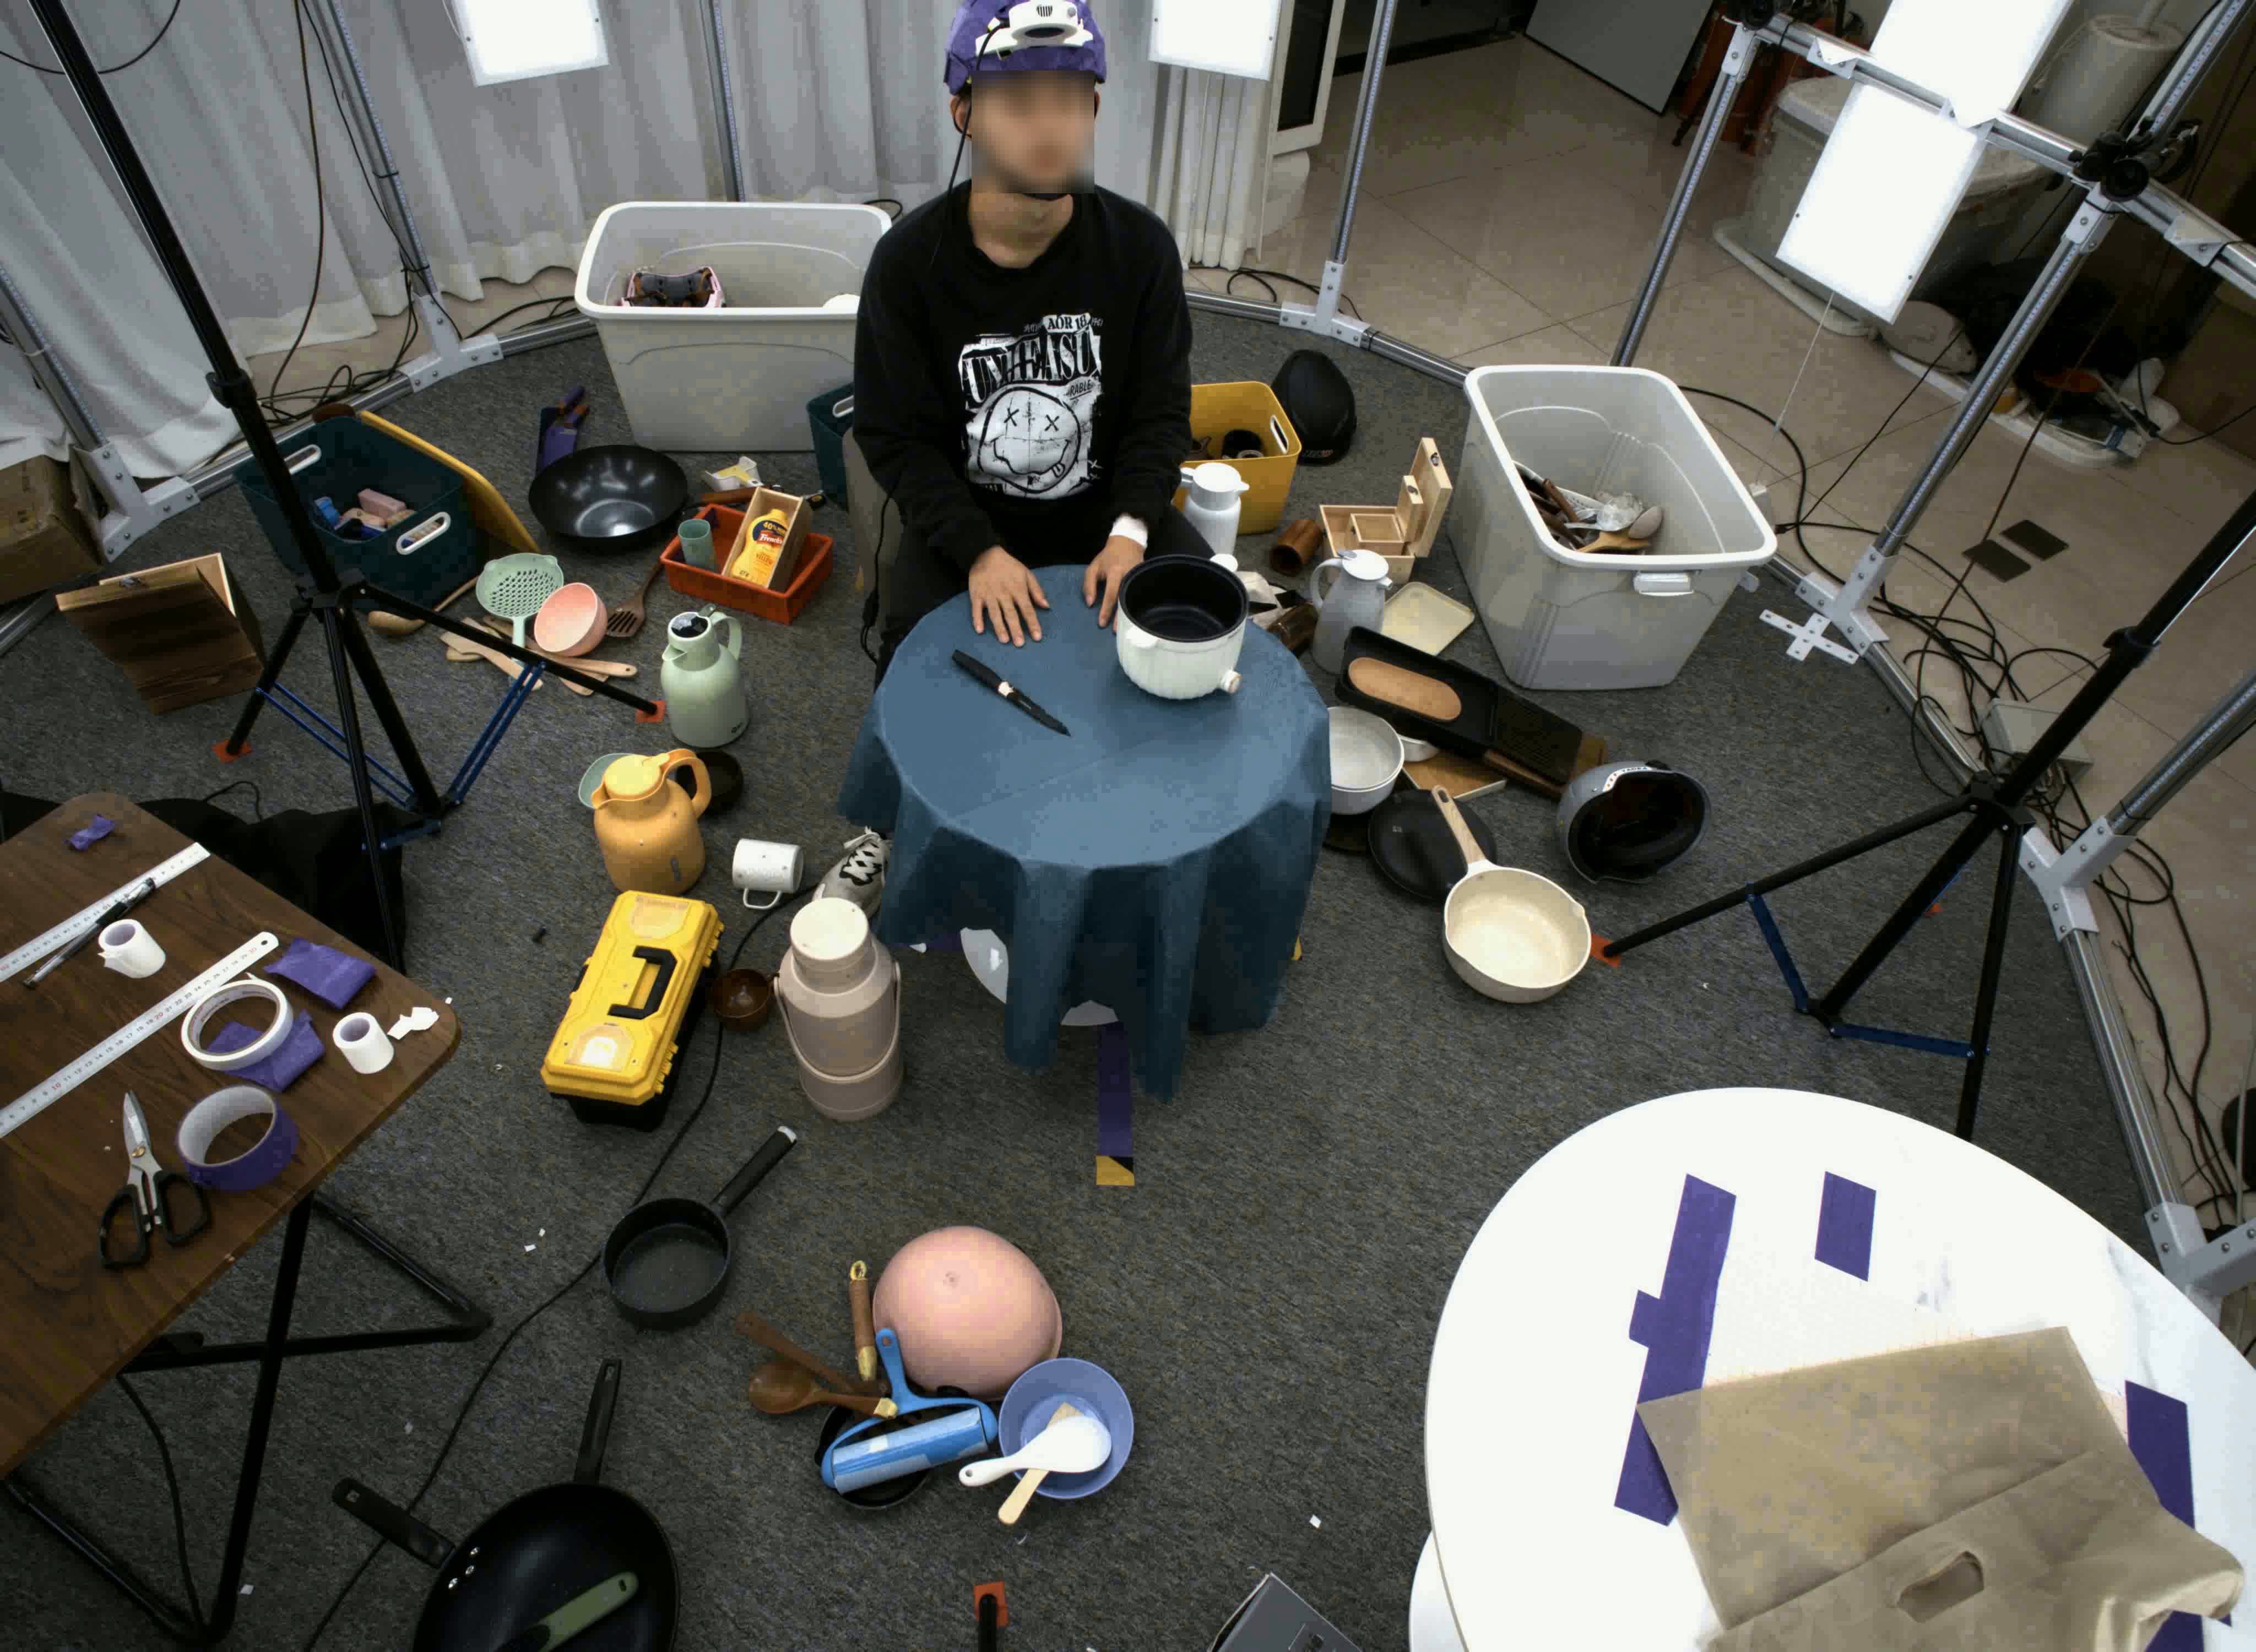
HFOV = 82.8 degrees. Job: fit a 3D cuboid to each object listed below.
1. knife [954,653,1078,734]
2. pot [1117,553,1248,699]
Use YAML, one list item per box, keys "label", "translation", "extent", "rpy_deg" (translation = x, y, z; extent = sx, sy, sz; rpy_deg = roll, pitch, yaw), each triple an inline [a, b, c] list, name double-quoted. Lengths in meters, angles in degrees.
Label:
- label: "knife"
  translation: [-0.160, -0.186, 1.815]
  extent: [0.228, 0.017, 0.026]
  rpy_deg: [35, 42, 23]
- label: "pot"
  translation: [0.079, -0.274, 1.822]
  extent: [0.192, 0.139, 0.243]
  rpy_deg: [28, 54, 23]
